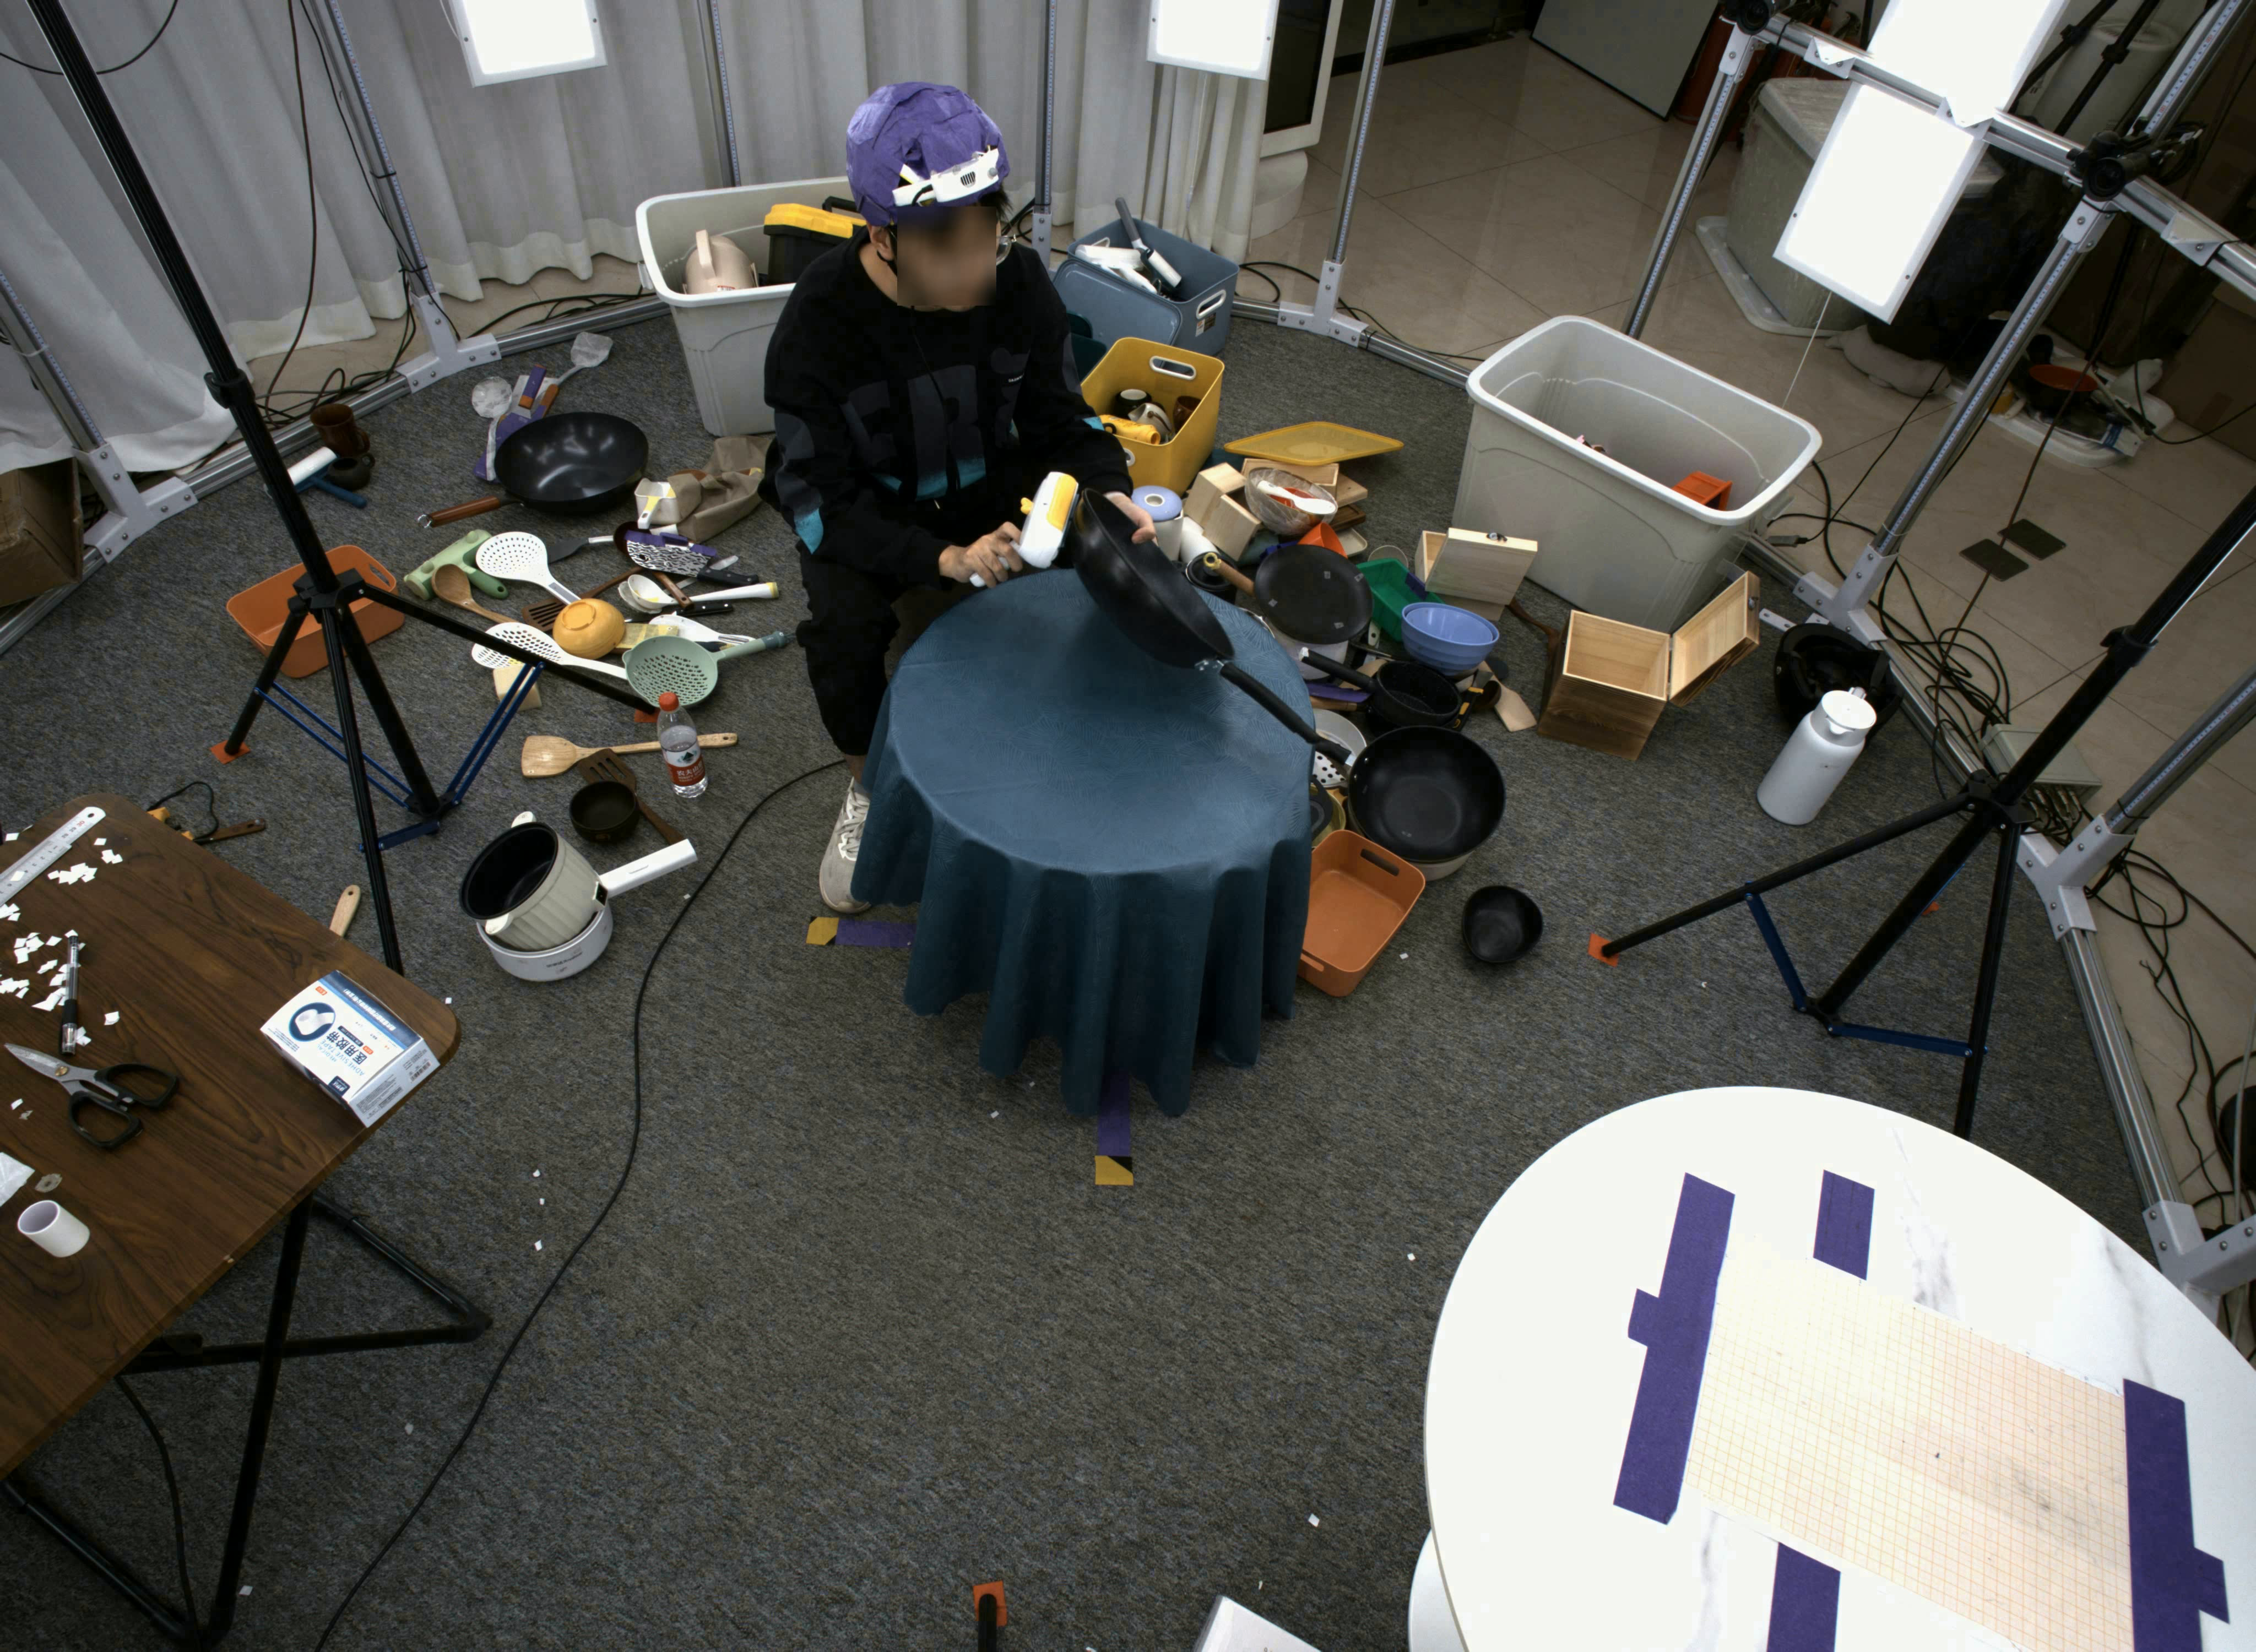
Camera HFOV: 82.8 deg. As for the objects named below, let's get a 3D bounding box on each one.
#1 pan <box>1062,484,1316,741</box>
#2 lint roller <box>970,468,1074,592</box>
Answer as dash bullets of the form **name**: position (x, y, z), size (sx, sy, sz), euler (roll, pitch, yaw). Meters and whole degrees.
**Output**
- **pan**: position (0.068, -0.270, 1.755), size (0.482, 0.111, 0.309), euler (53, 19, 14)
- **lint roller**: position (-0.148, -0.394, 1.802), size (0.073, 0.190, 0.197), euler (29, 33, -22)
